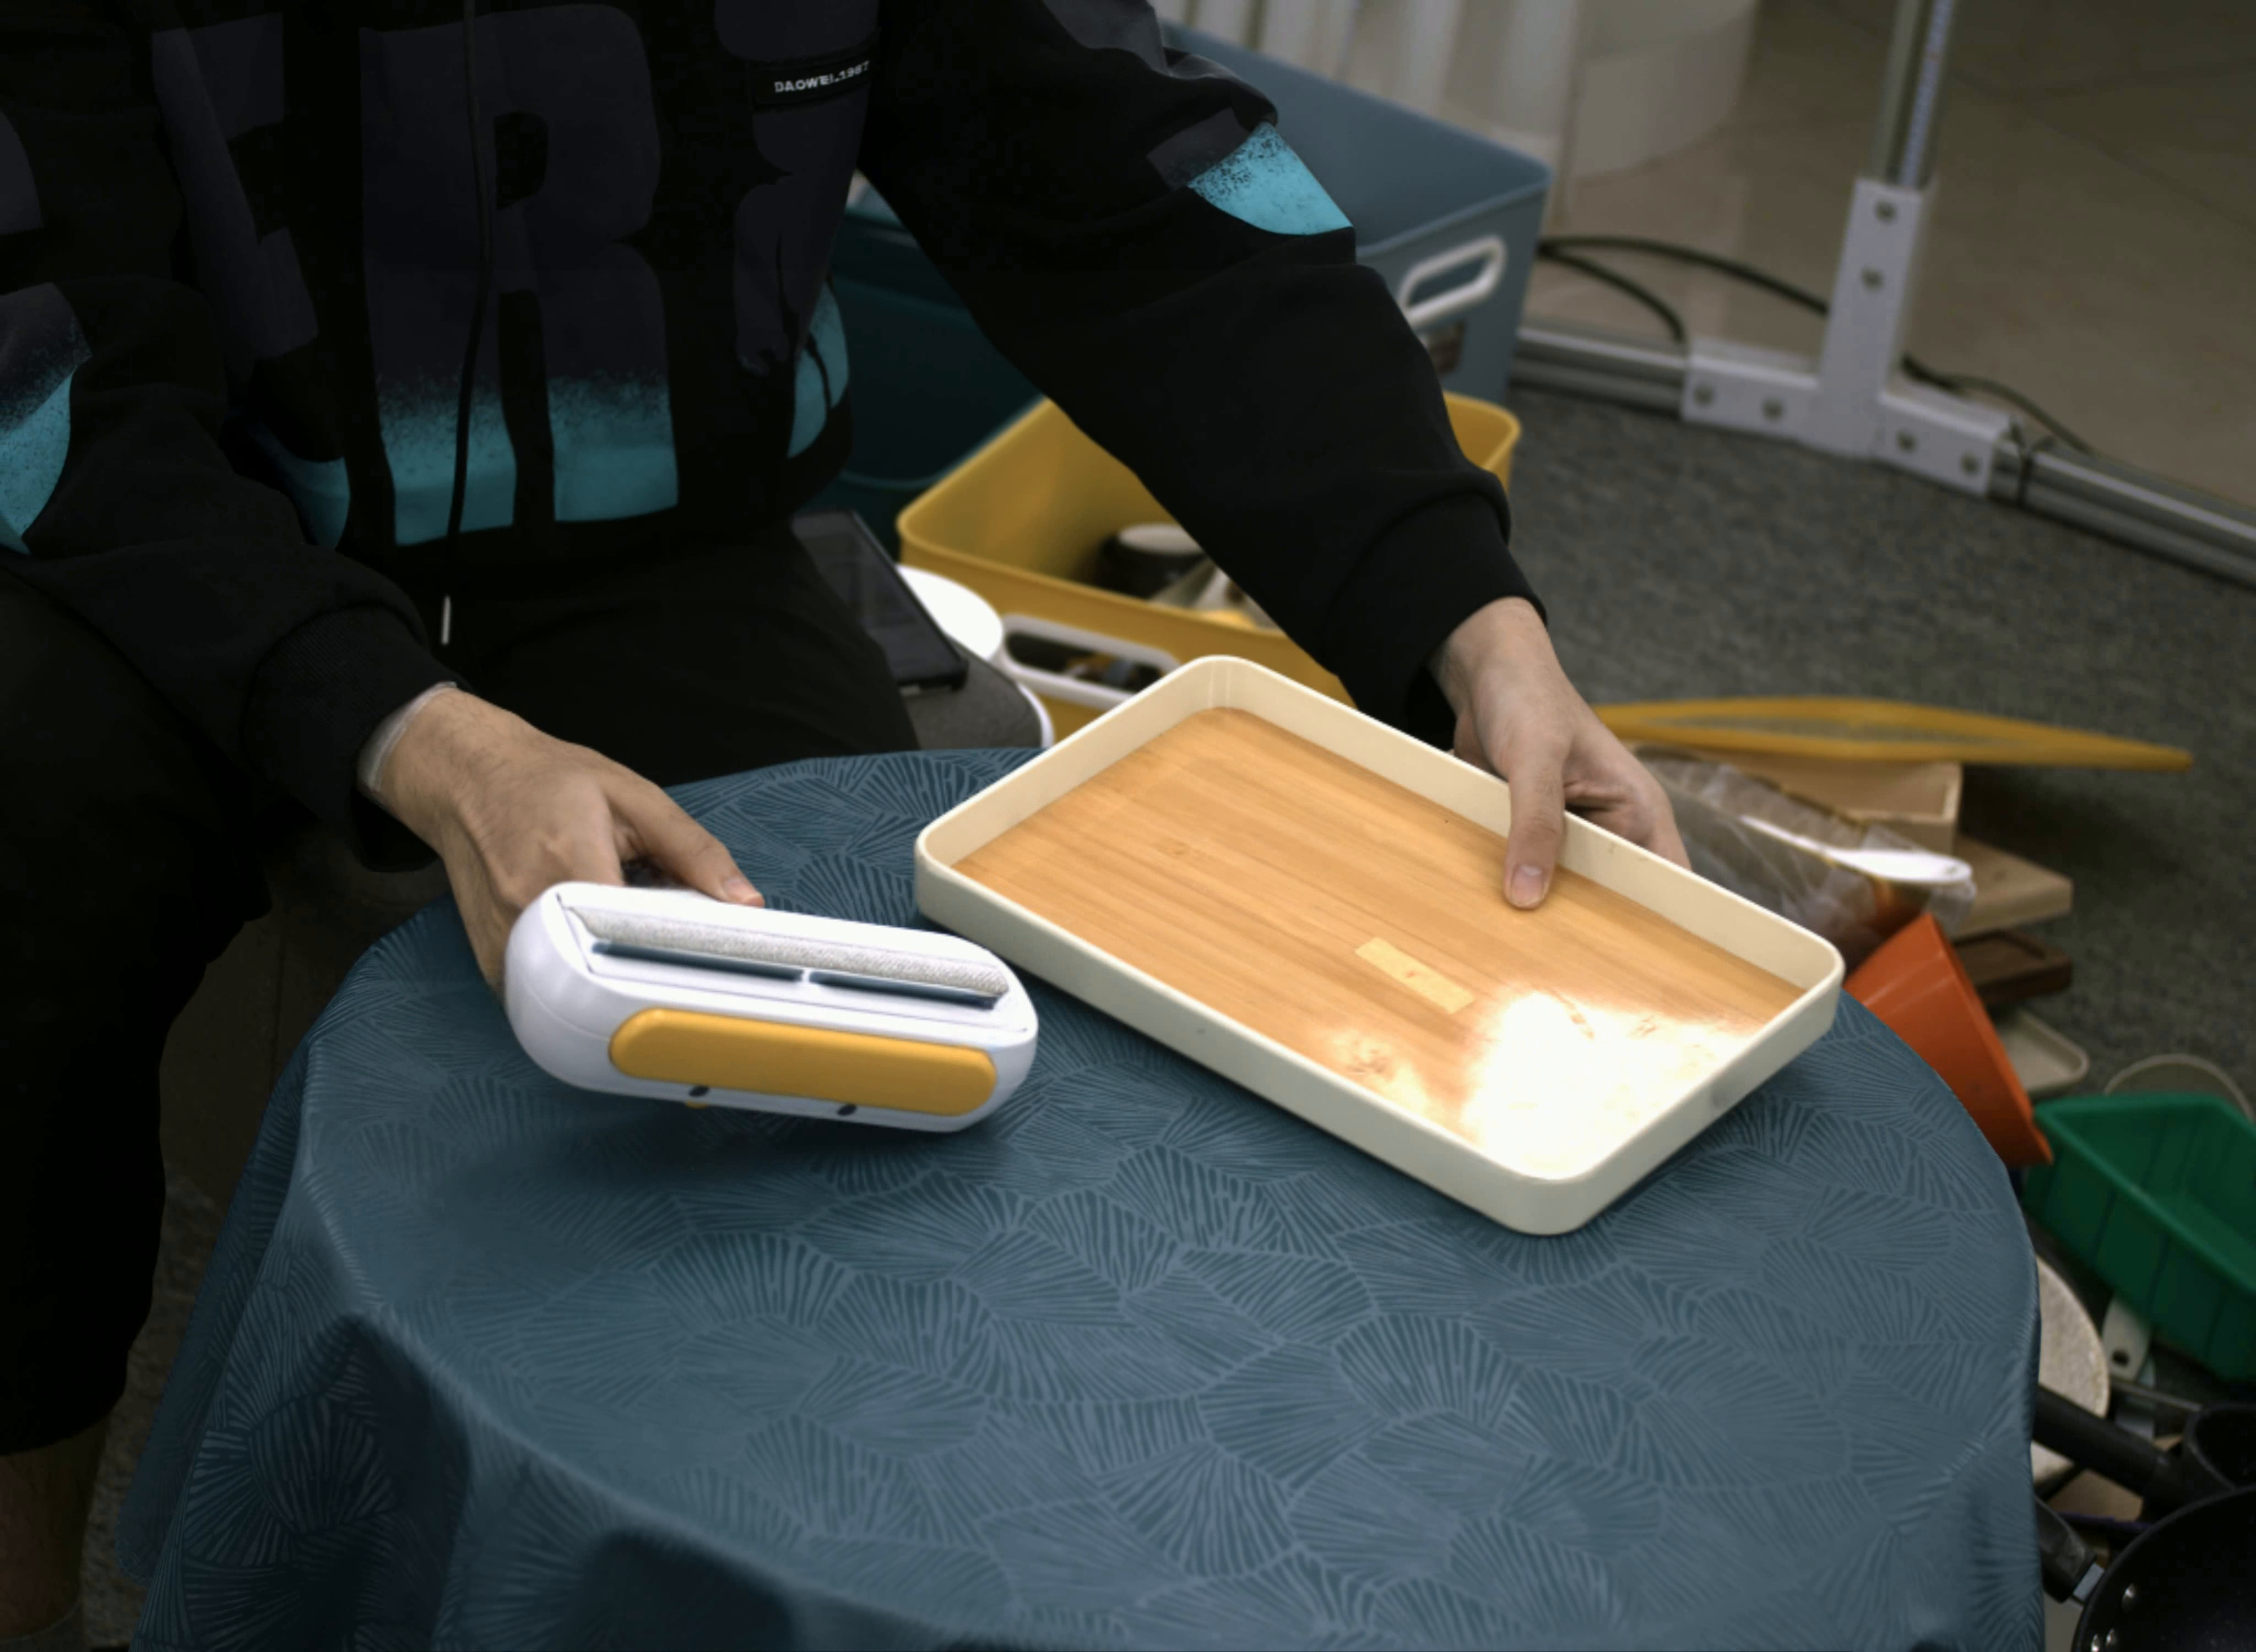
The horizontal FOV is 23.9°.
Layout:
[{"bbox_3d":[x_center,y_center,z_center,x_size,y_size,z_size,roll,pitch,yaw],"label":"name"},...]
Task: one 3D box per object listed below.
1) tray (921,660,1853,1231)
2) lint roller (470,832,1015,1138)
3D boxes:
[{"bbox_3d":[0.092,0.038,1.924,0.302,0.027,0.191,27,39,30],"label":"tray"},{"bbox_3d":[-0.150,0.039,1.835,0.191,0.074,0.194,7,25,-26],"label":"lint roller"}]
